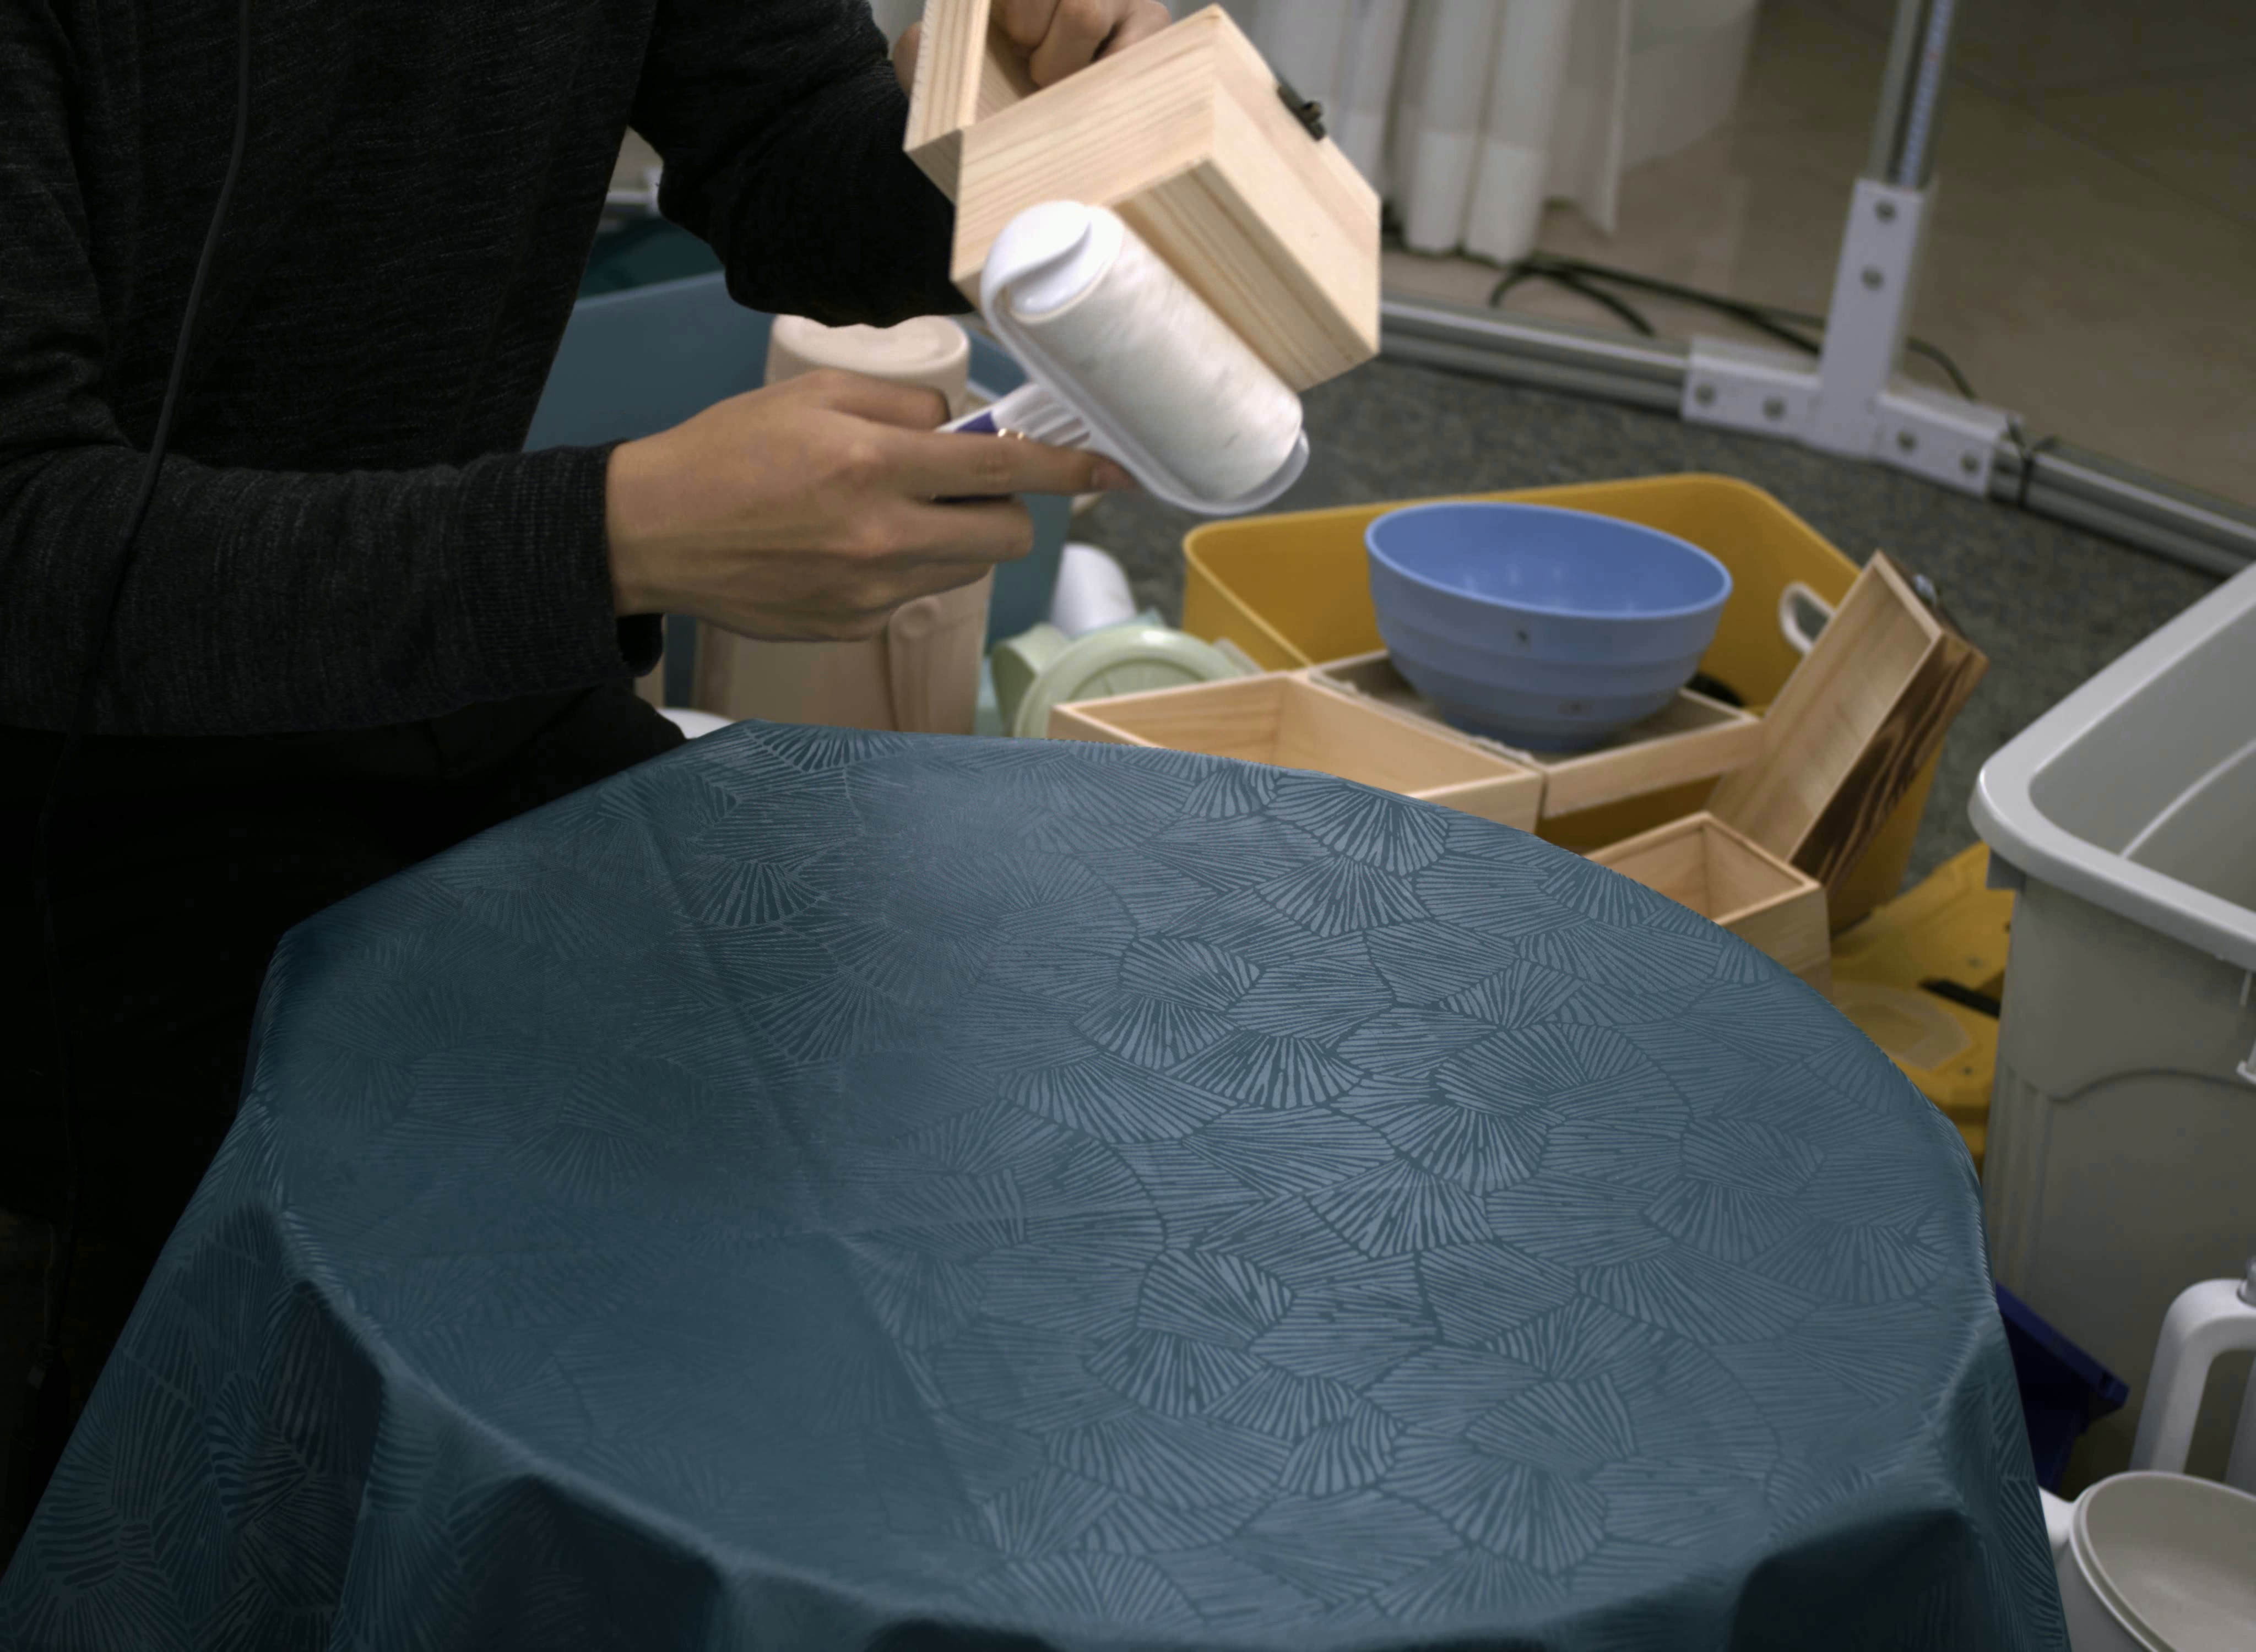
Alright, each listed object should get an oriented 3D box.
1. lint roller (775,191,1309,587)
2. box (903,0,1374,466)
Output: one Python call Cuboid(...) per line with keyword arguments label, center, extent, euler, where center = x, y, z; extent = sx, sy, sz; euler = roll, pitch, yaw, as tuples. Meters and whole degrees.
Cuboid(label="lint roller", center=(-0.044, -0.121, 1.726), extent=(0.181, 0.132, 0.050), euler=(-33, 37, 18))
Cuboid(label="box", center=(0.006, -0.230, 1.791), extent=(0.134, 0.101, 0.186), euler=(-23, 41, 26))
